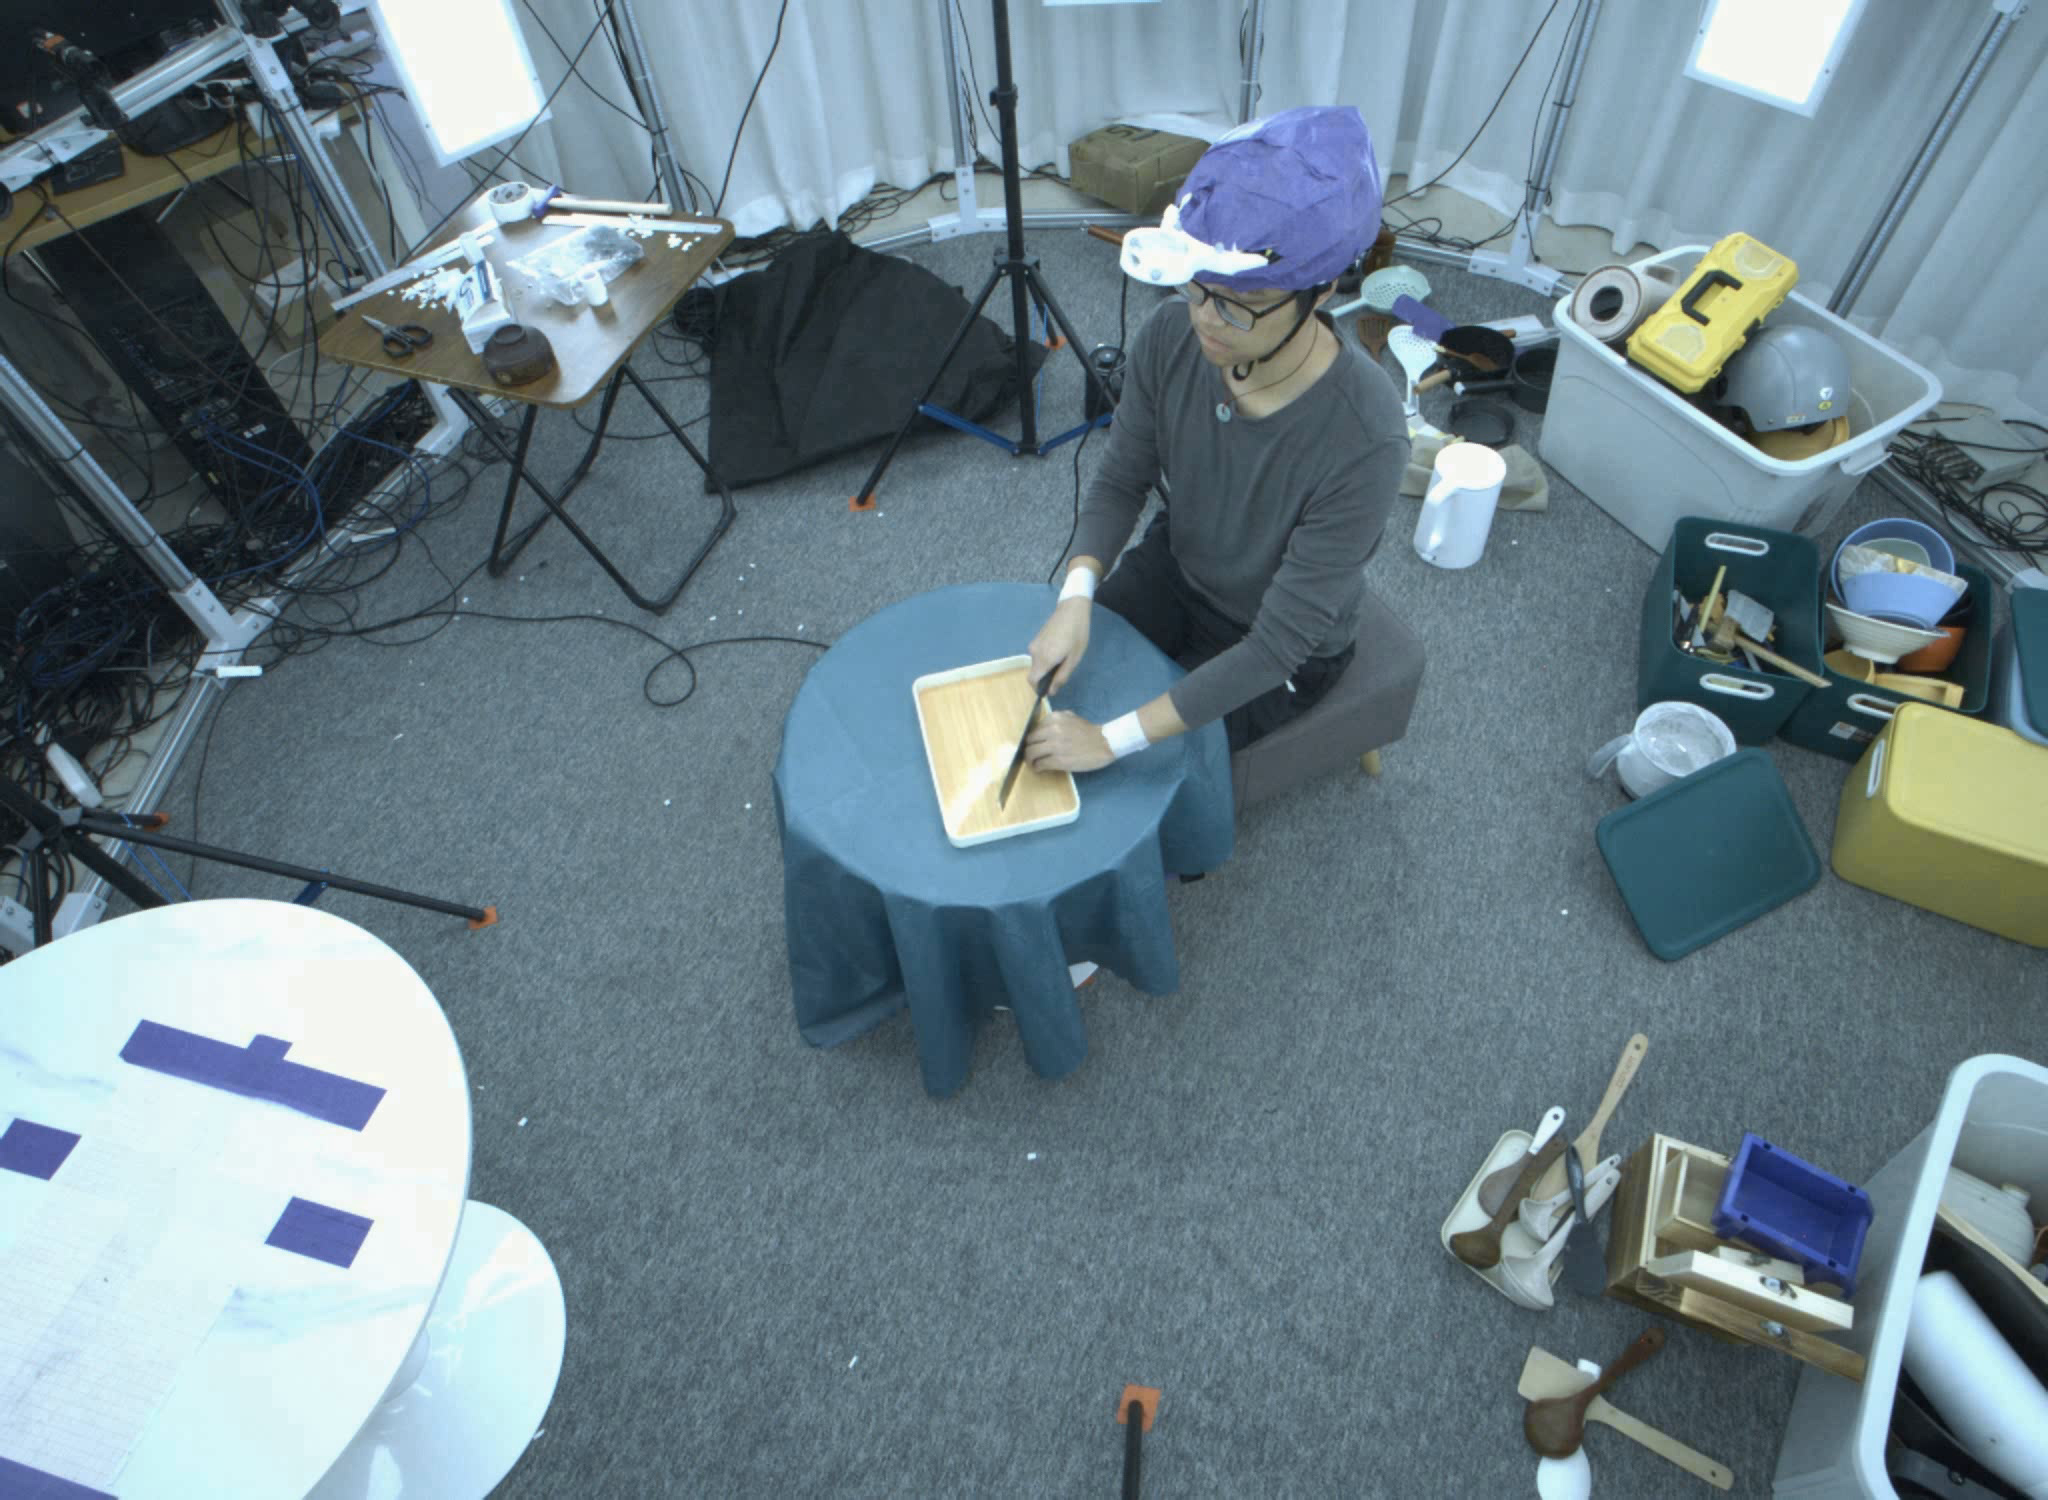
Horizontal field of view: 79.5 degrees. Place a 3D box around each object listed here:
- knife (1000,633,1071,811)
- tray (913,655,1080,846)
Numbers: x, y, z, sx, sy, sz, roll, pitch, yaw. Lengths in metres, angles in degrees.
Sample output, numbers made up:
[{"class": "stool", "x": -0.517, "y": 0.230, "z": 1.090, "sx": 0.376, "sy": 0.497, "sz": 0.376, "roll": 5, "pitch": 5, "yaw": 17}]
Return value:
[{"class": "knife", "x": 0.015, "y": -0.048, "z": 1.764, "sx": 0.021, "sy": 0.081, "sz": 0.301, "roll": 16, "pitch": 61, "yaw": 9}, {"class": "tray", "x": -0.044, "y": -0.005, "z": 1.783, "sx": 0.192, "sy": 0.028, "sz": 0.295, "roll": -12, "pitch": 55, "yaw": -7}]
